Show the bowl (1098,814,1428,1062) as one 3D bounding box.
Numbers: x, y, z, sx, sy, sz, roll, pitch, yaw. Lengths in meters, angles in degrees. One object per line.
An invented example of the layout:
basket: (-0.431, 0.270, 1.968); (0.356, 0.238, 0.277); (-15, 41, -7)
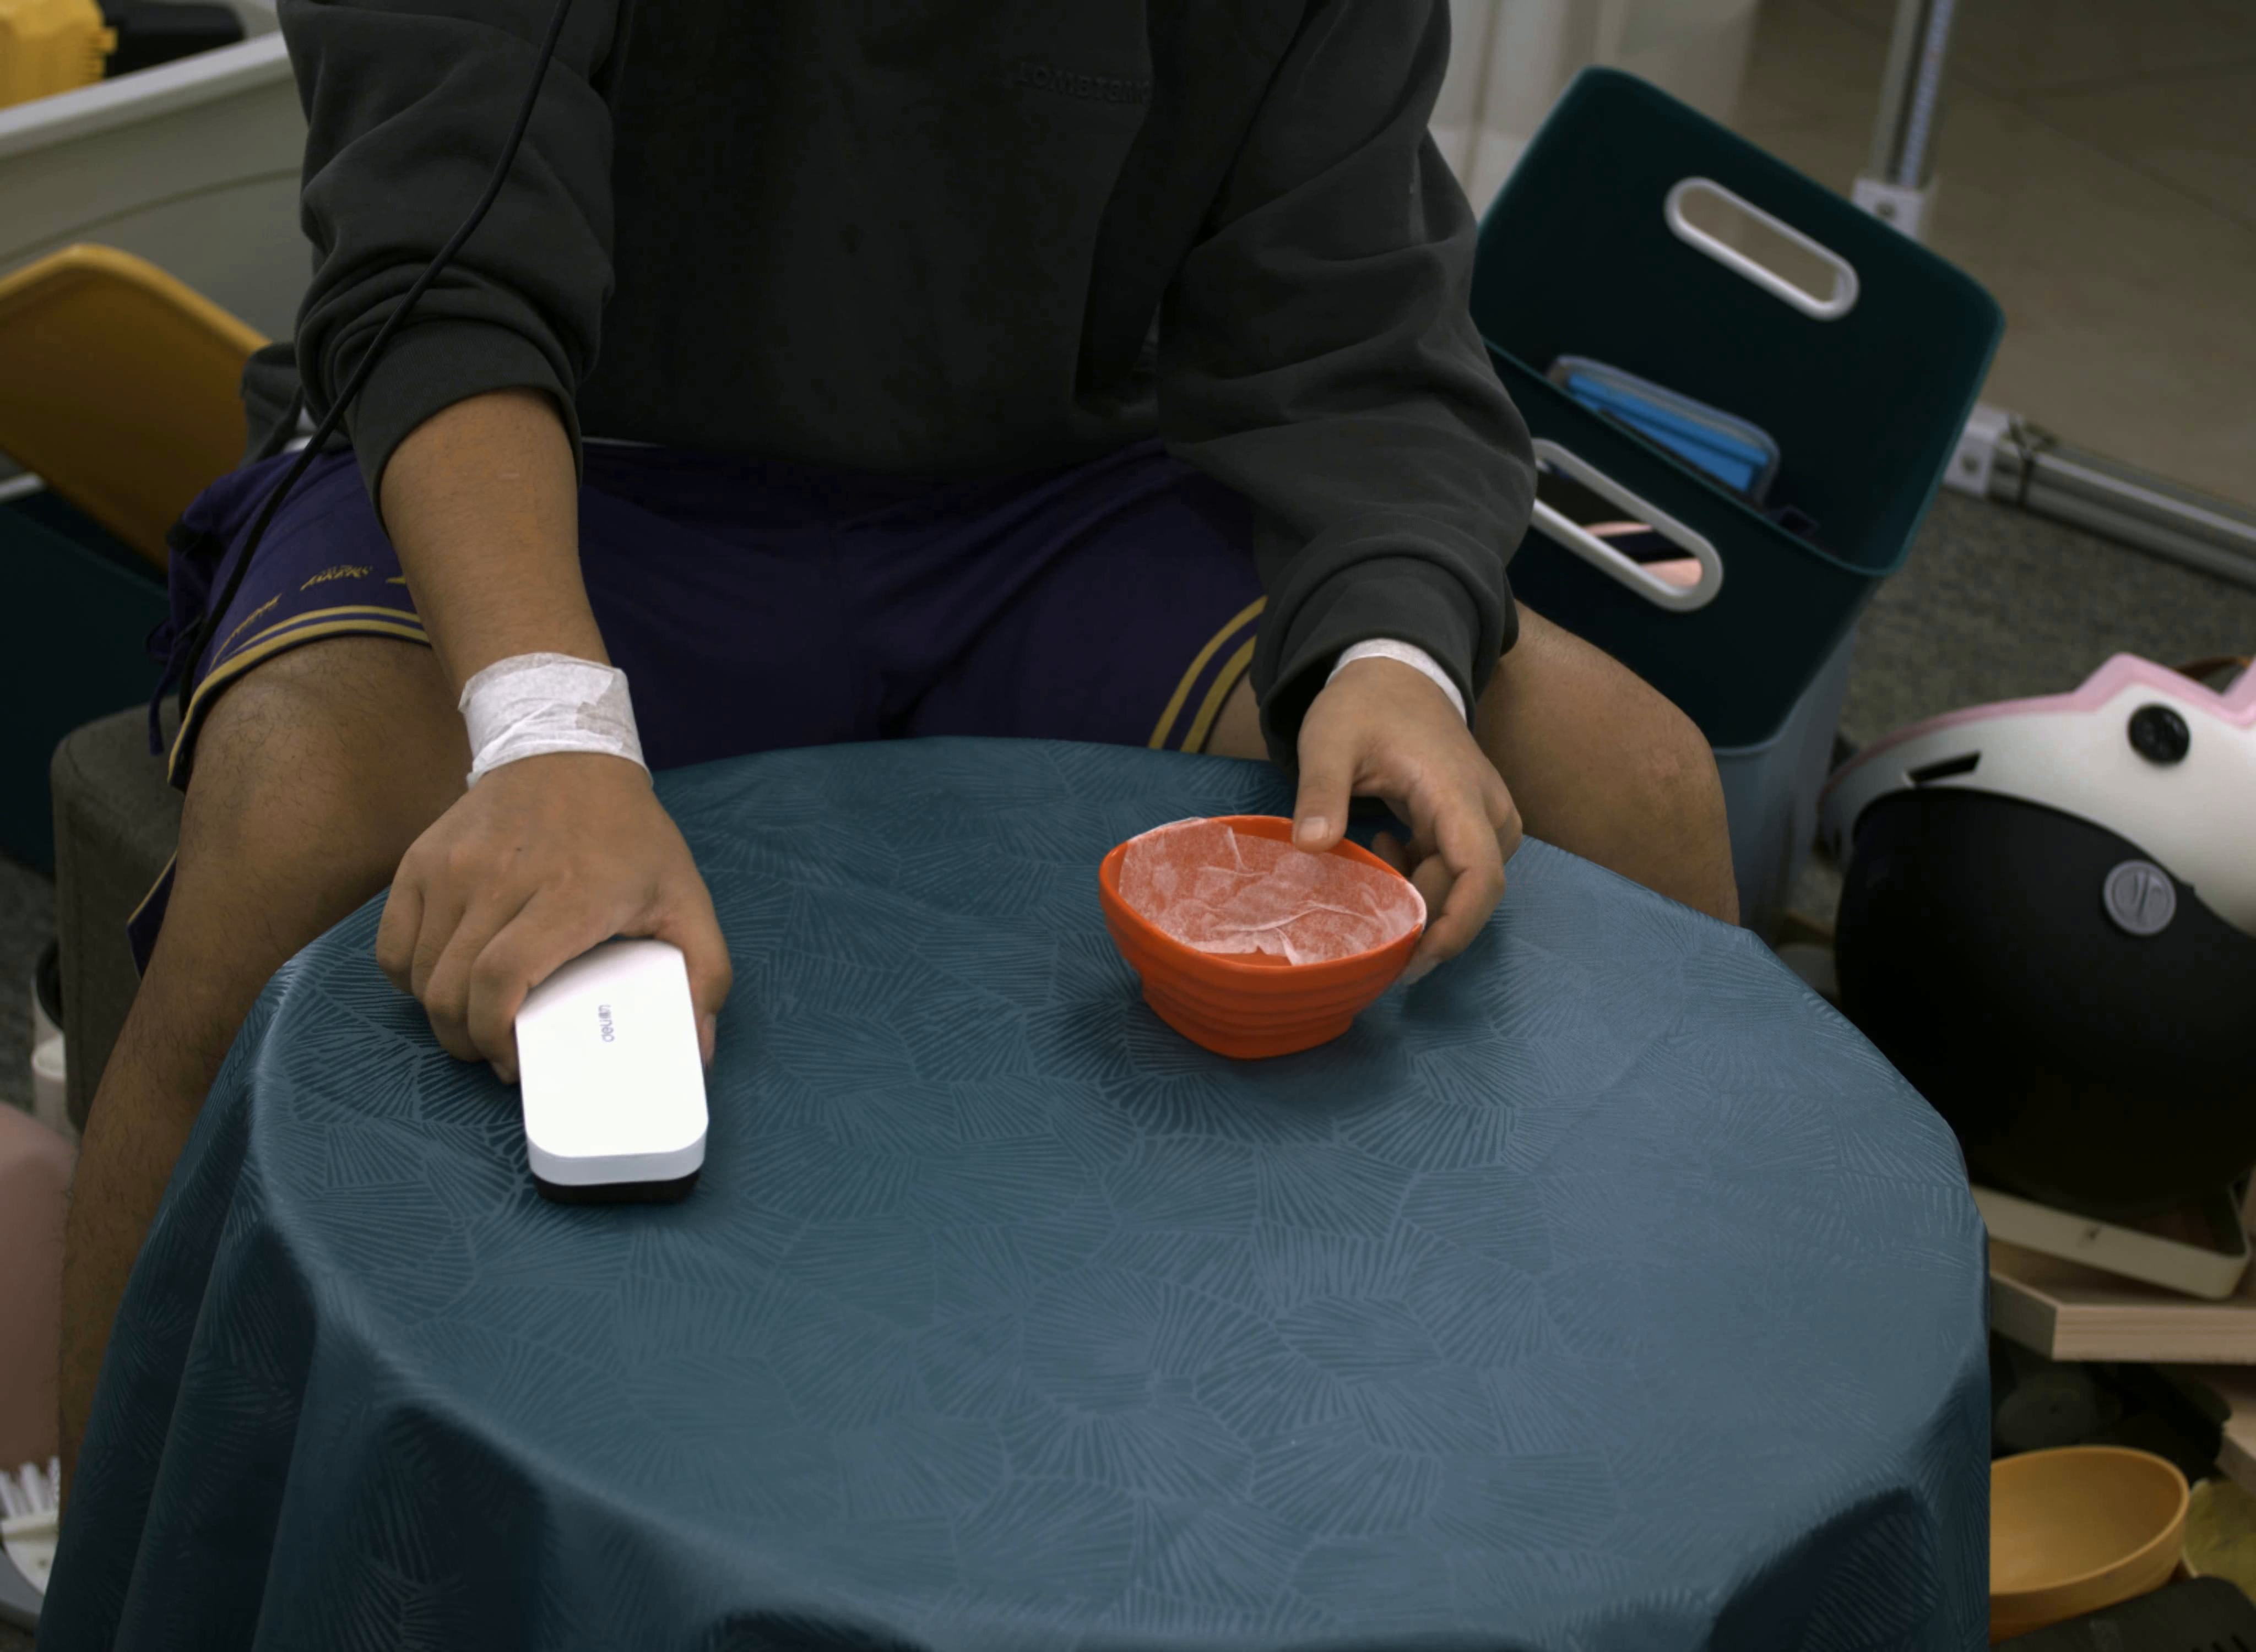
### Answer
bowl: (0.046, 0.044, 1.912); (0.118, 0.051, 0.119); (4, 27, -3)

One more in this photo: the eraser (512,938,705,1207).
eraser: (-0.176, 0.080, 1.804); (0.063, 0.034, 0.132); (0, 32, -8)
